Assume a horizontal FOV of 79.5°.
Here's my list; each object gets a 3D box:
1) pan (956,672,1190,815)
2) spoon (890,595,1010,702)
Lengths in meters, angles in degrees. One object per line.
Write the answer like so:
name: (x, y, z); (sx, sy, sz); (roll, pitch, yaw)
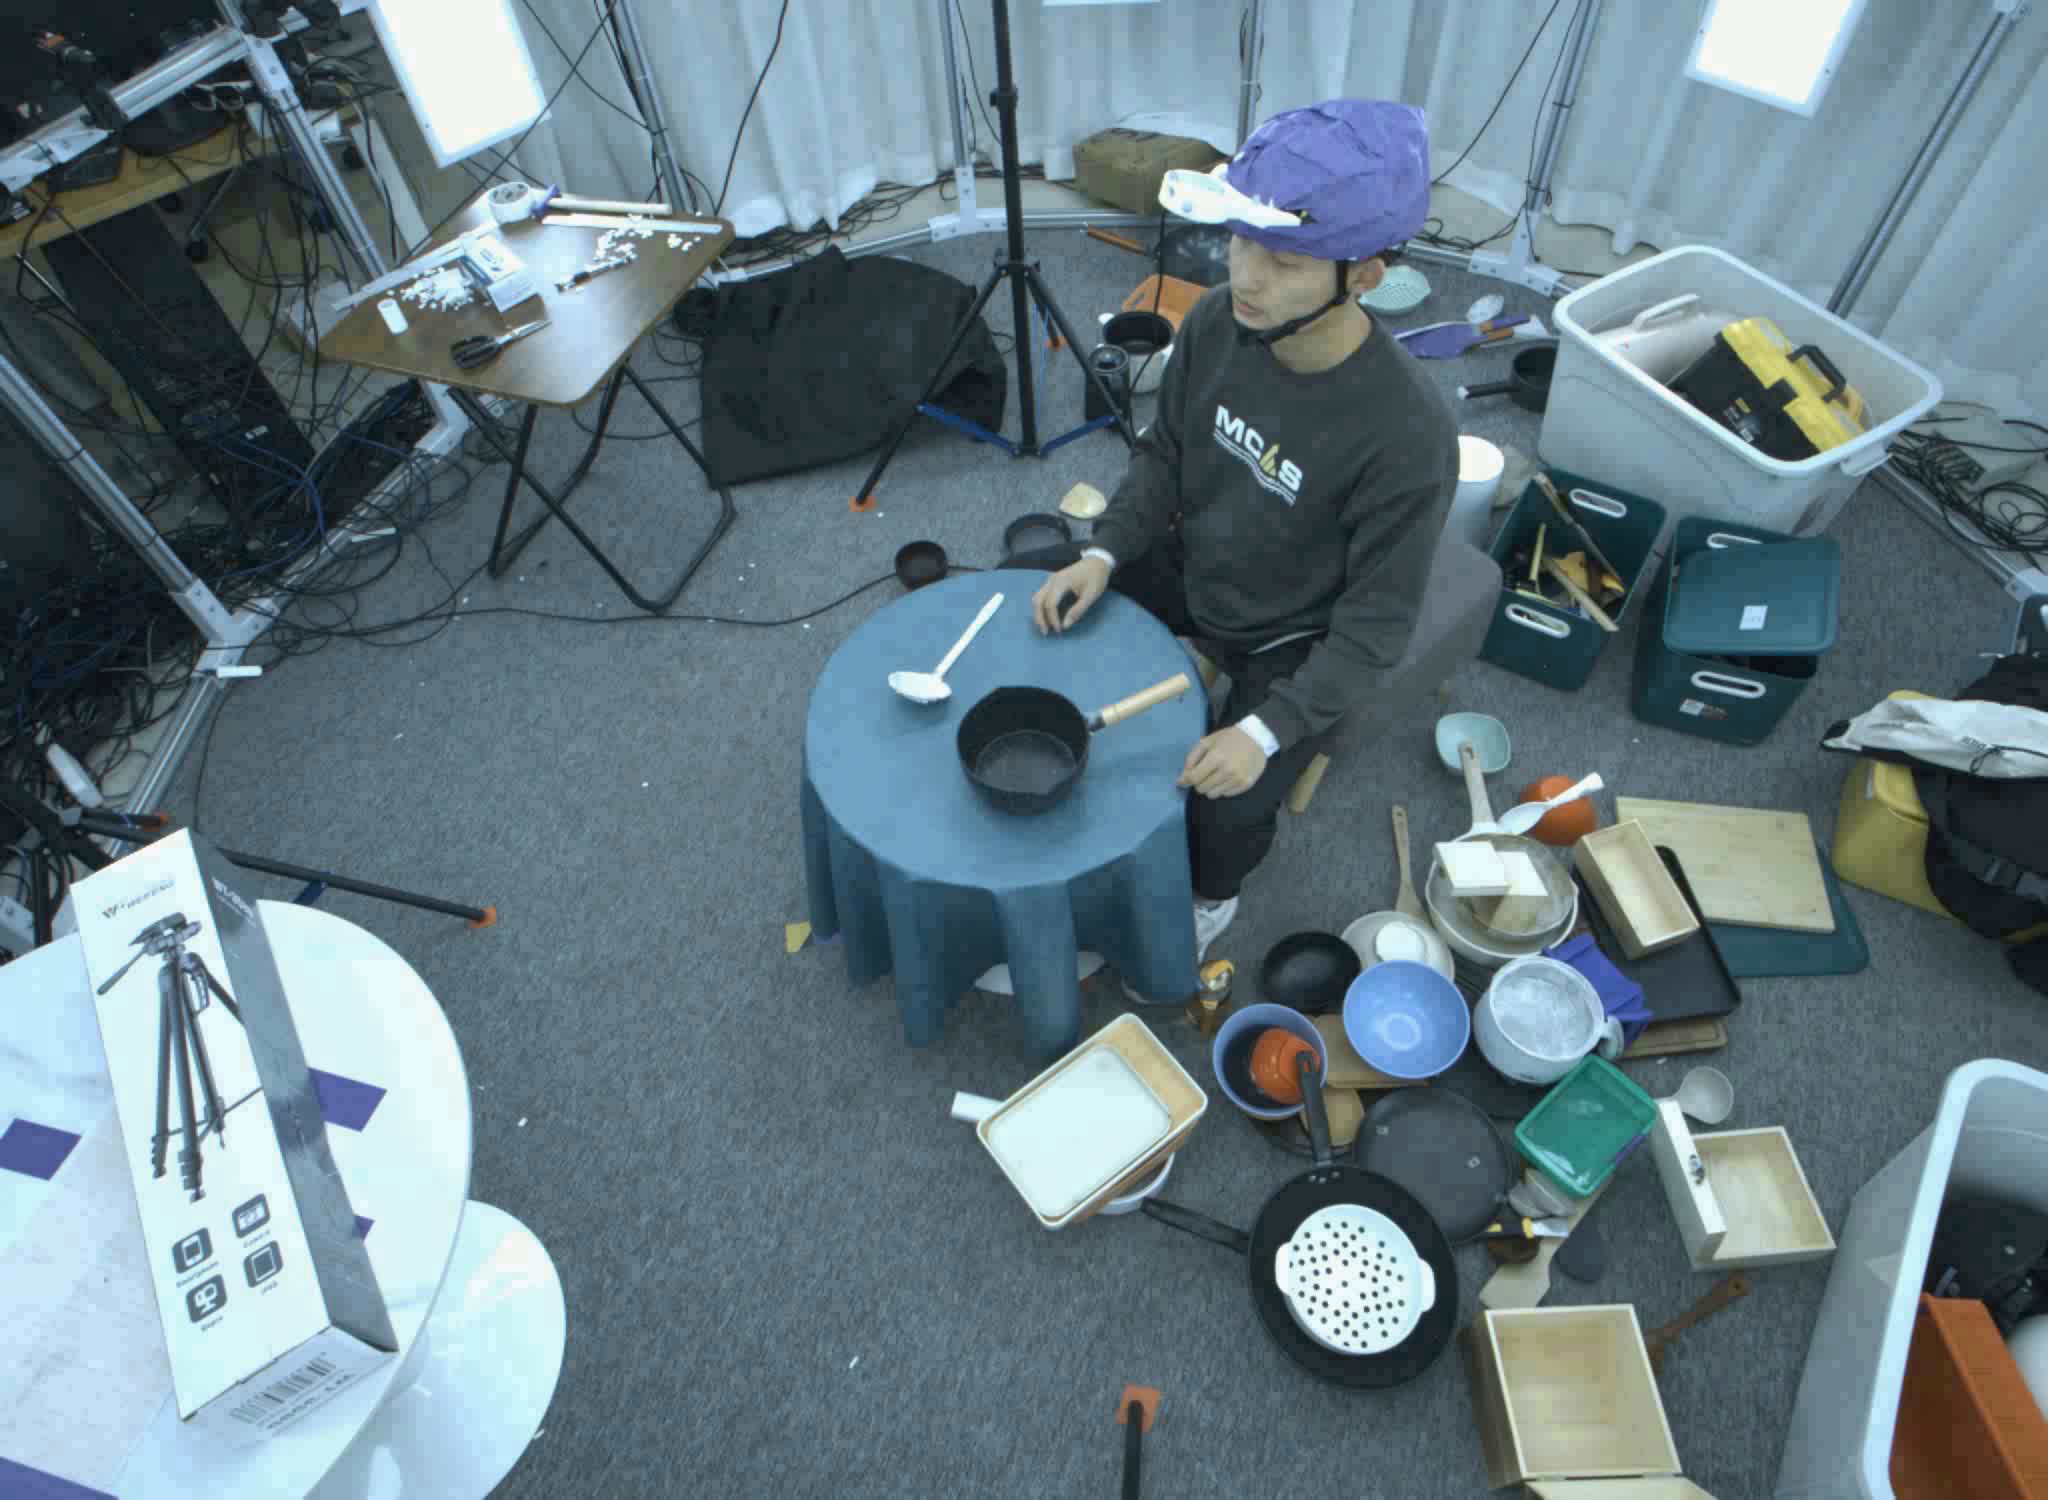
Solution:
pan: (0.074, -0.025, 1.745); (0.345, 0.109, 0.204); (-19, 55, -10)
spoon: (-0.098, -0.165, 1.880); (0.099, 0.060, 0.278); (28, 60, 18)
